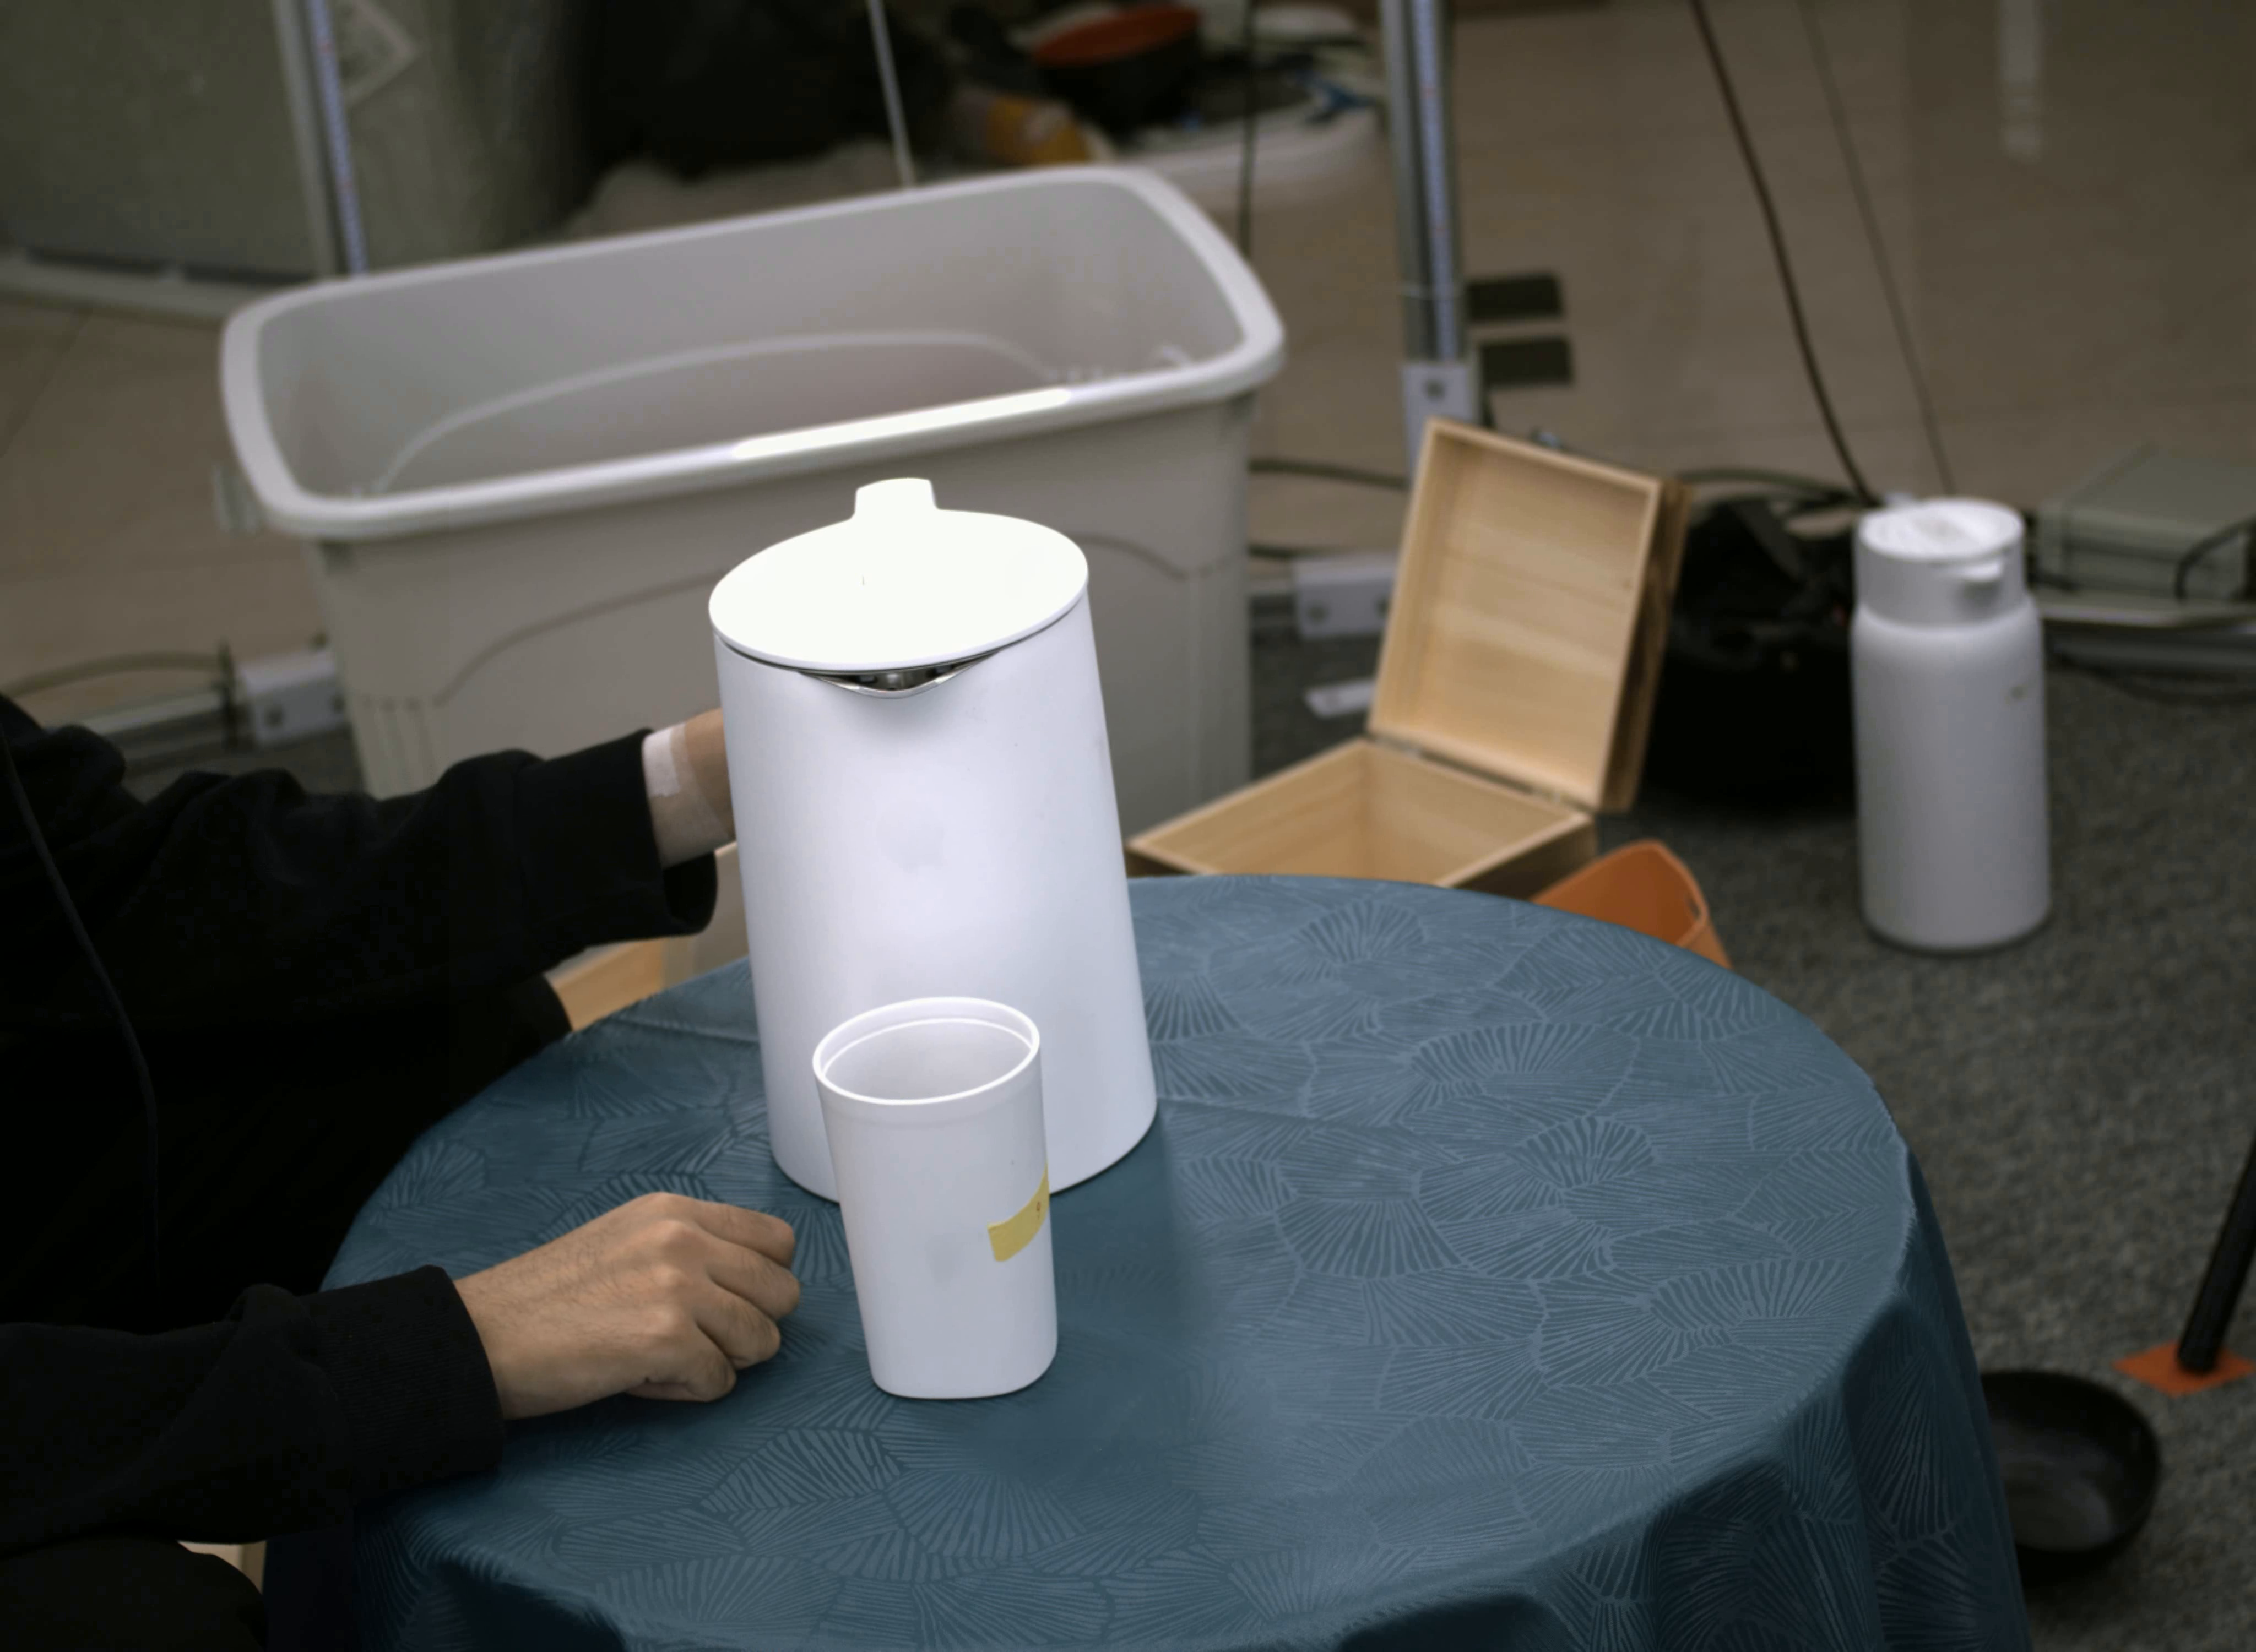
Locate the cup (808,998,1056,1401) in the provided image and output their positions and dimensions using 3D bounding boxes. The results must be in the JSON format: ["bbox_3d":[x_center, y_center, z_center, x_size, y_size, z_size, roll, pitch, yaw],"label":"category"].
[{"bbox_3d":[-0.065,0.135,2.020,0.081,0.127,0.080,-6,26,3],"label":"cup"}]

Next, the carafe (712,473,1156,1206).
[{"bbox_3d":[-0.074,0.001,2.180,0.152,0.244,0.210,-5,27,0],"label":"carafe"}]
